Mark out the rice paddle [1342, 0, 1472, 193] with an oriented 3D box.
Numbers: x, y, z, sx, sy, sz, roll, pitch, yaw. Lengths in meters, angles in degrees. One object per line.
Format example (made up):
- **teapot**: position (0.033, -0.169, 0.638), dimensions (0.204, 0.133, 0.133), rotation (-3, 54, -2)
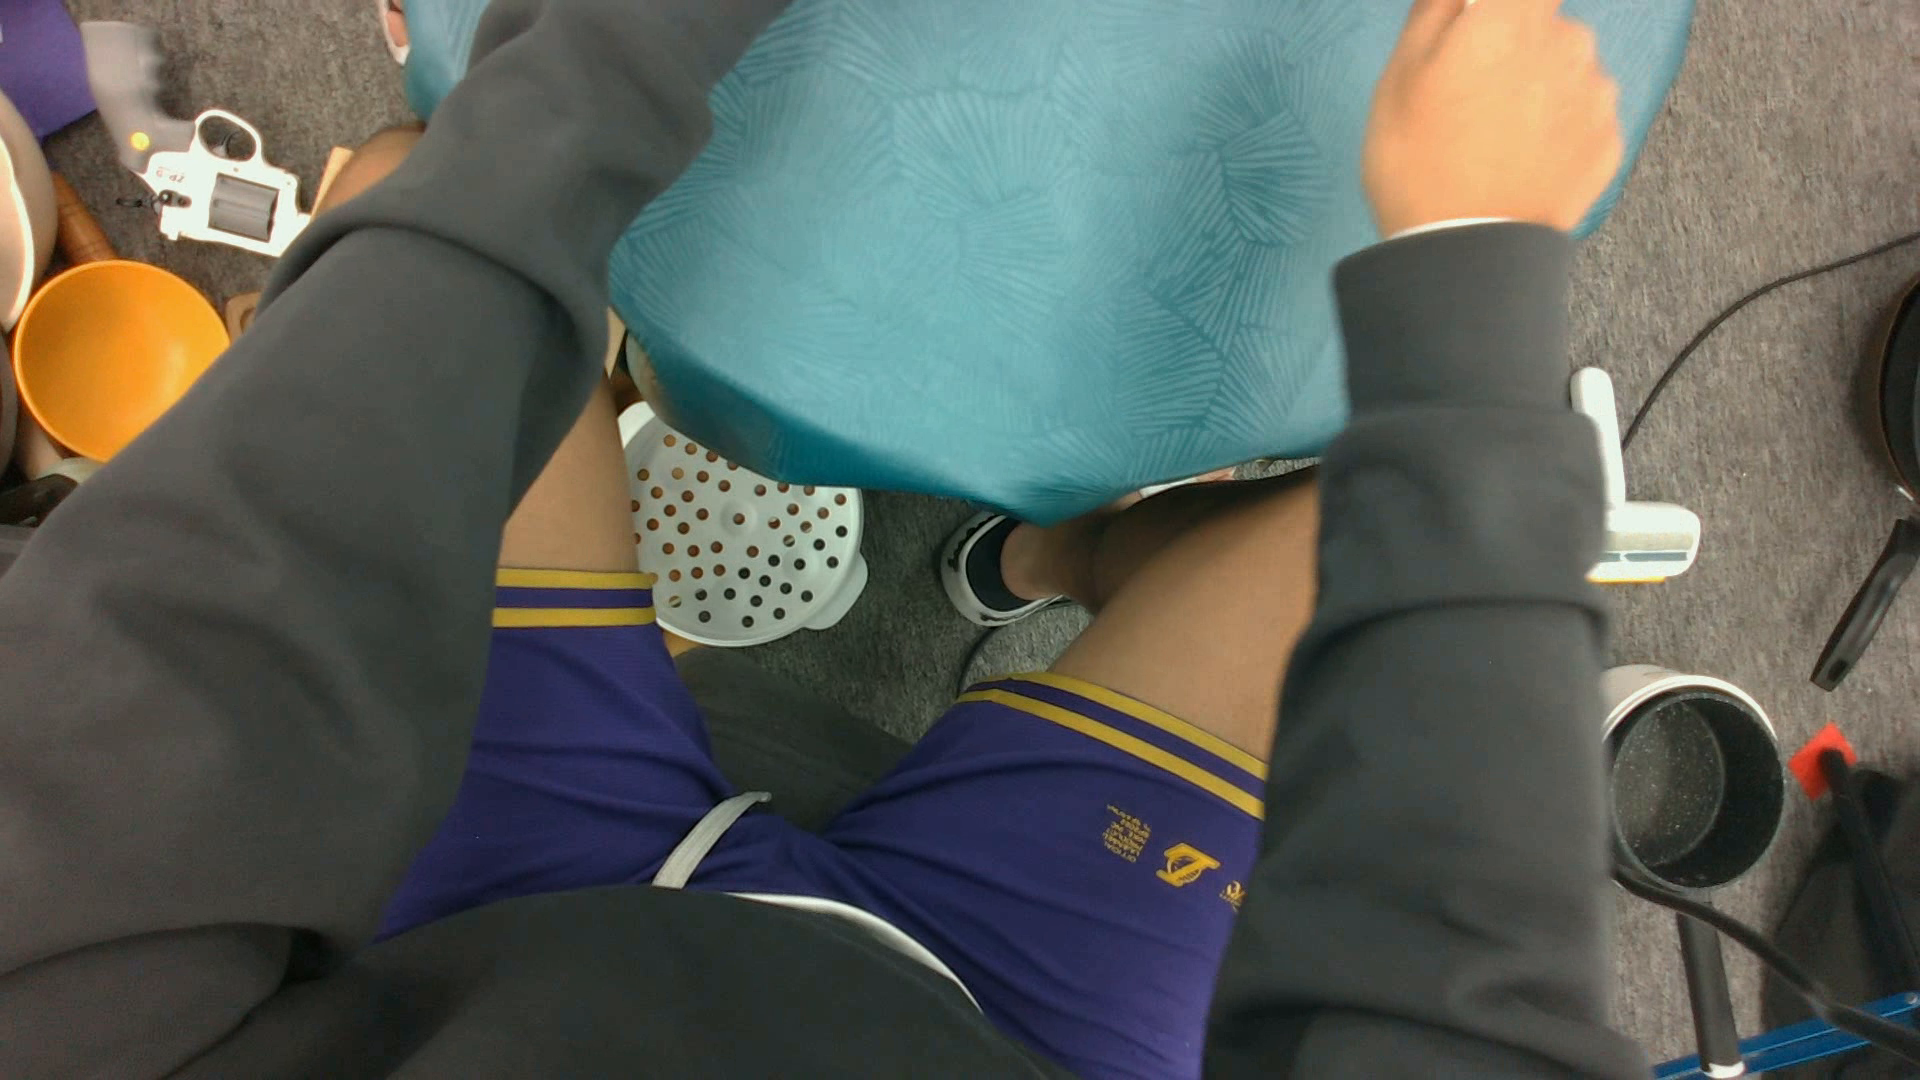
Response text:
- **rice paddle**: position (0.200, -0.238, 0.535), dimensions (0.069, 0.029, 0.205), rotation (11, 101, -41)
